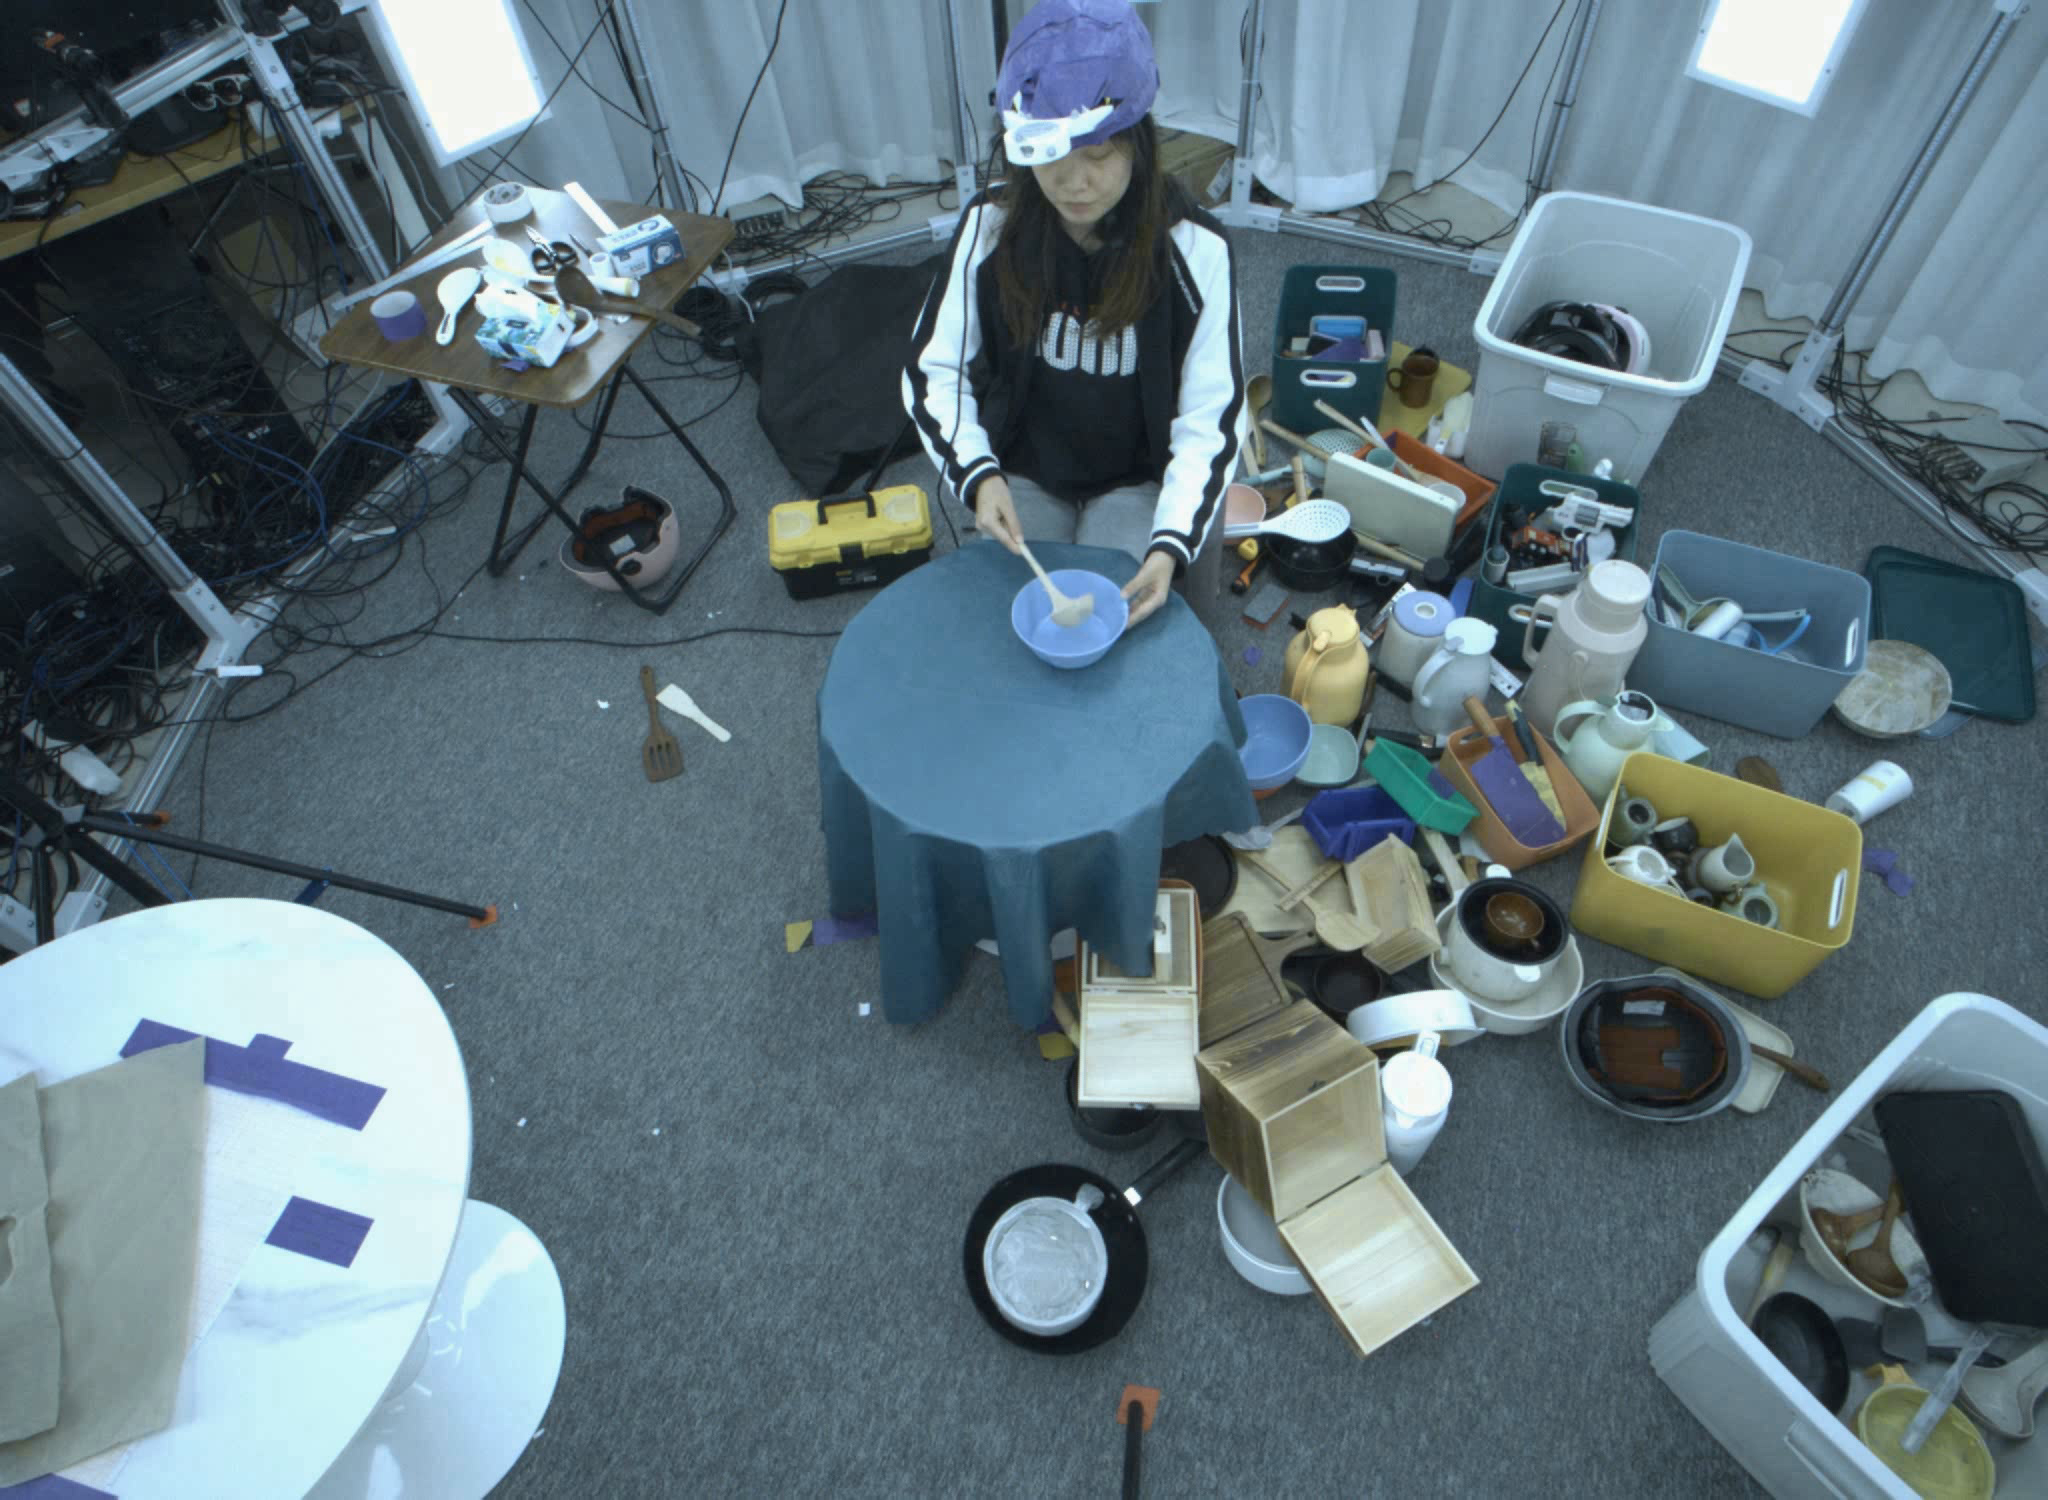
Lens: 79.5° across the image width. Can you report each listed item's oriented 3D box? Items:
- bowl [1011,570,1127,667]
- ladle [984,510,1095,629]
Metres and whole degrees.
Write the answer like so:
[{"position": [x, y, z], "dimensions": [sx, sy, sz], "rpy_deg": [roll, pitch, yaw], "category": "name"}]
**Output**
[{"position": [0.068, -0.191, 1.877], "dimensions": [0.176, 0.071, 0.174], "rpy_deg": [0, 55, 1], "category": "bowl"}, {"position": [0.014, -0.288, 1.840], "dimensions": [0.072, 0.073, 0.252], "rpy_deg": [-32, 75, -15], "category": "ladle"}]
